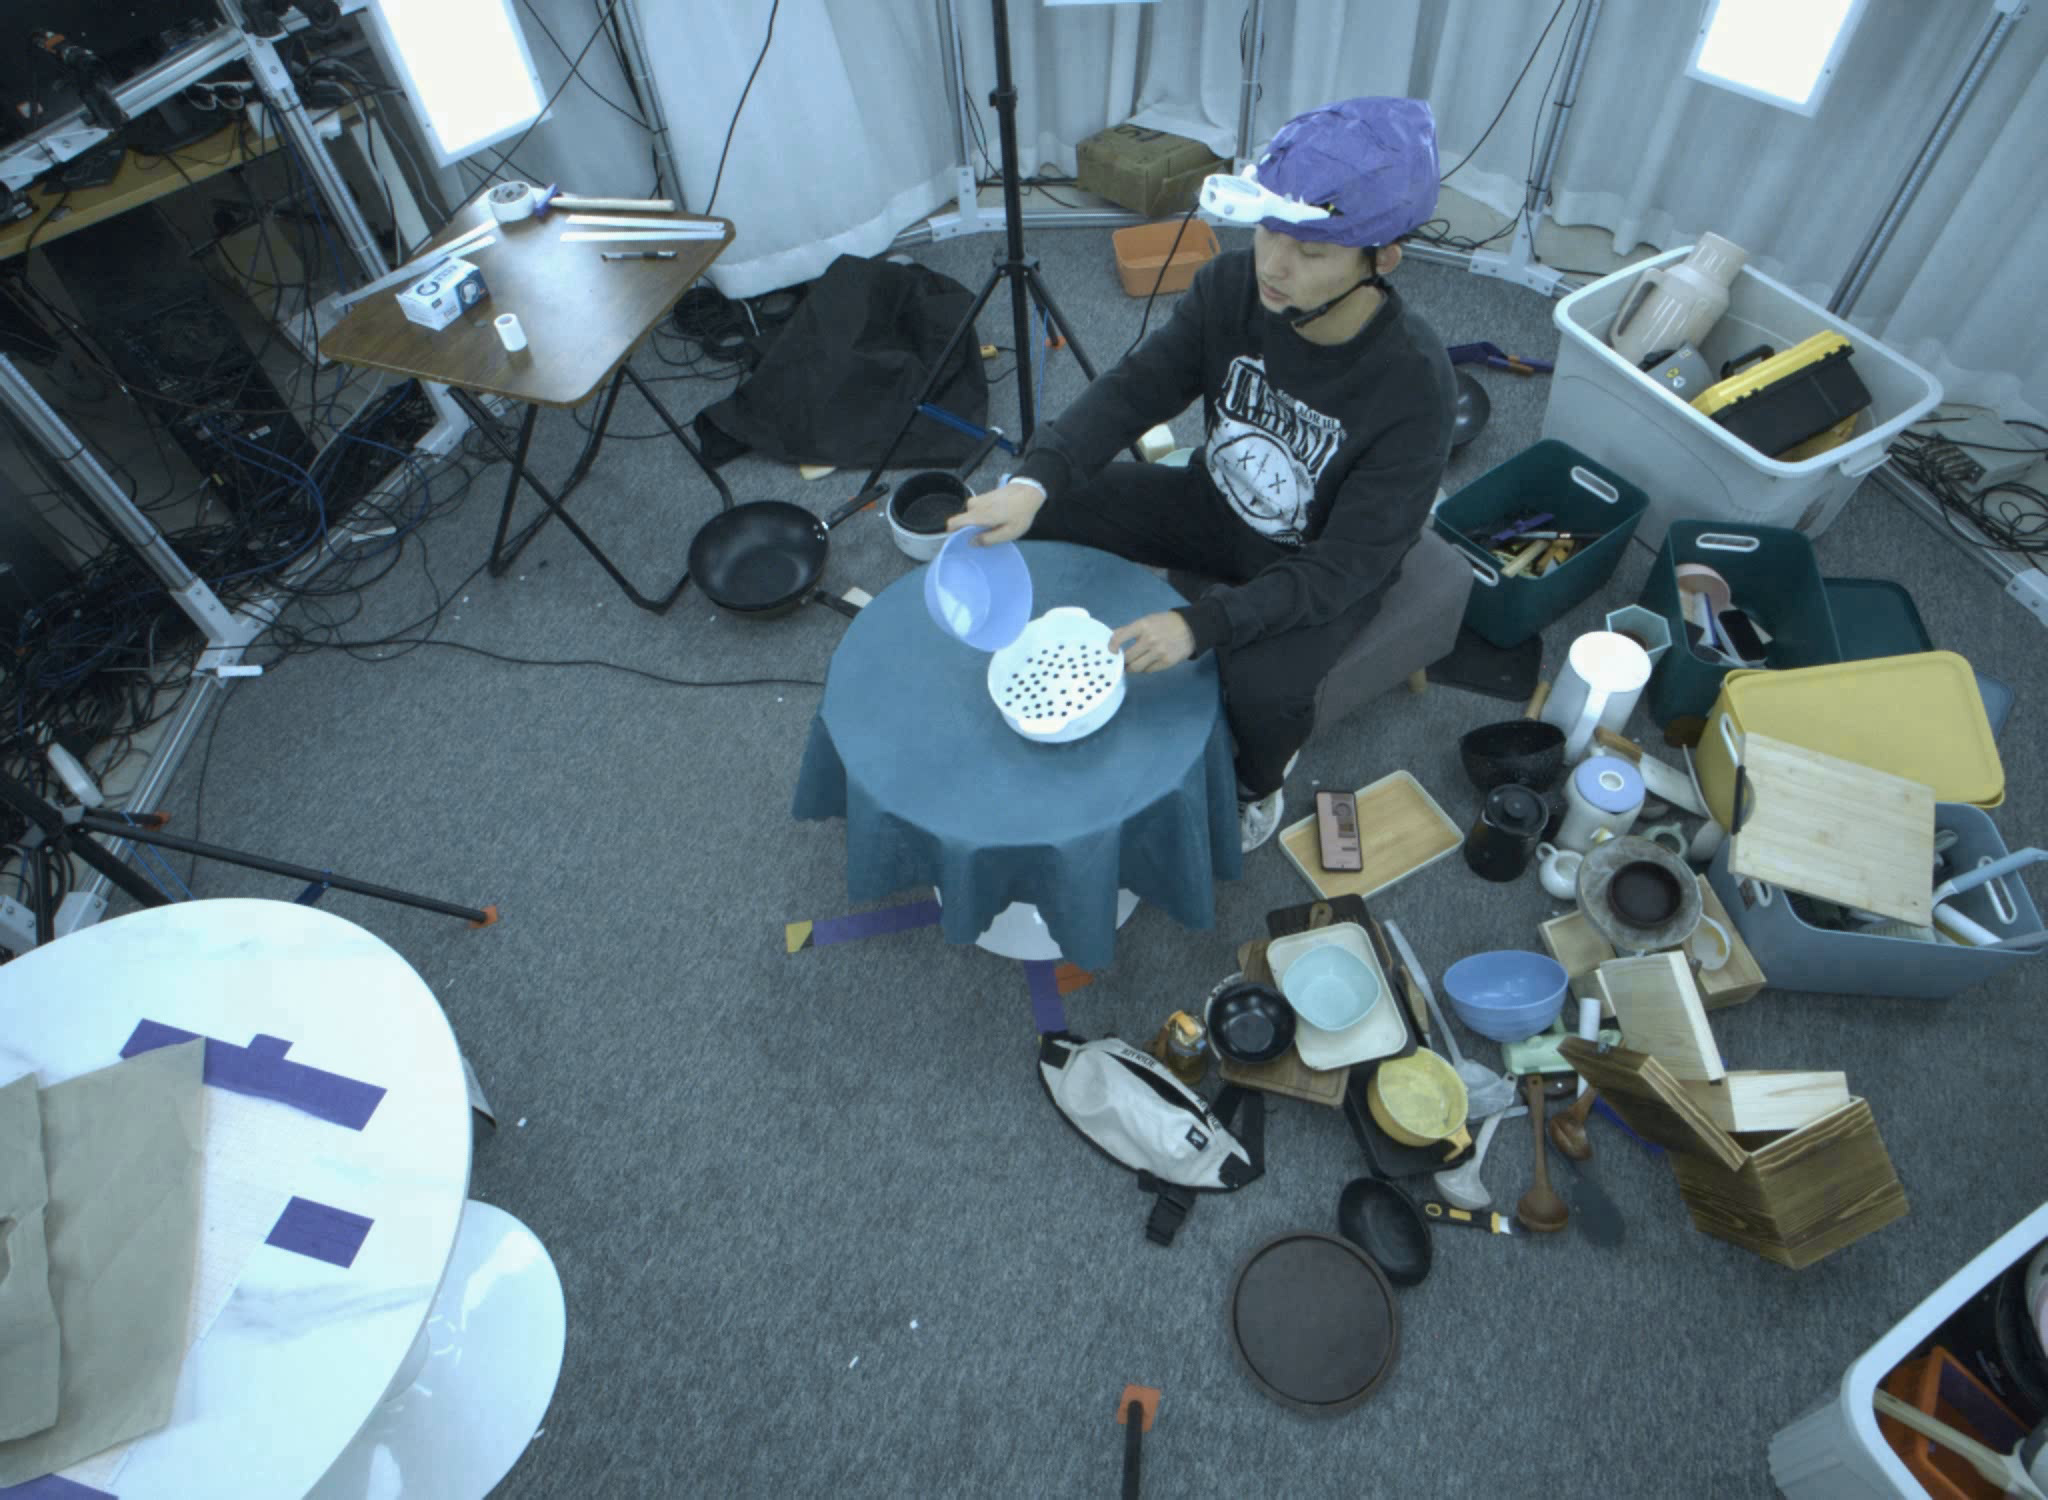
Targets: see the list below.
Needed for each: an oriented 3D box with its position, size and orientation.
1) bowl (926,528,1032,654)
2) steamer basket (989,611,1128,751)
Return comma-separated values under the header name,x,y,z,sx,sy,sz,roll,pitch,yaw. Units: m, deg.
name,x,y,z,sx,sy,sz,roll,pitch,yaw
bowl,-0.073,-0.218,1.720,0.069,0.179,0.176,-4,45,46
steamer basket,0.053,-0.095,1.808,0.200,0.070,0.229,2,60,15
